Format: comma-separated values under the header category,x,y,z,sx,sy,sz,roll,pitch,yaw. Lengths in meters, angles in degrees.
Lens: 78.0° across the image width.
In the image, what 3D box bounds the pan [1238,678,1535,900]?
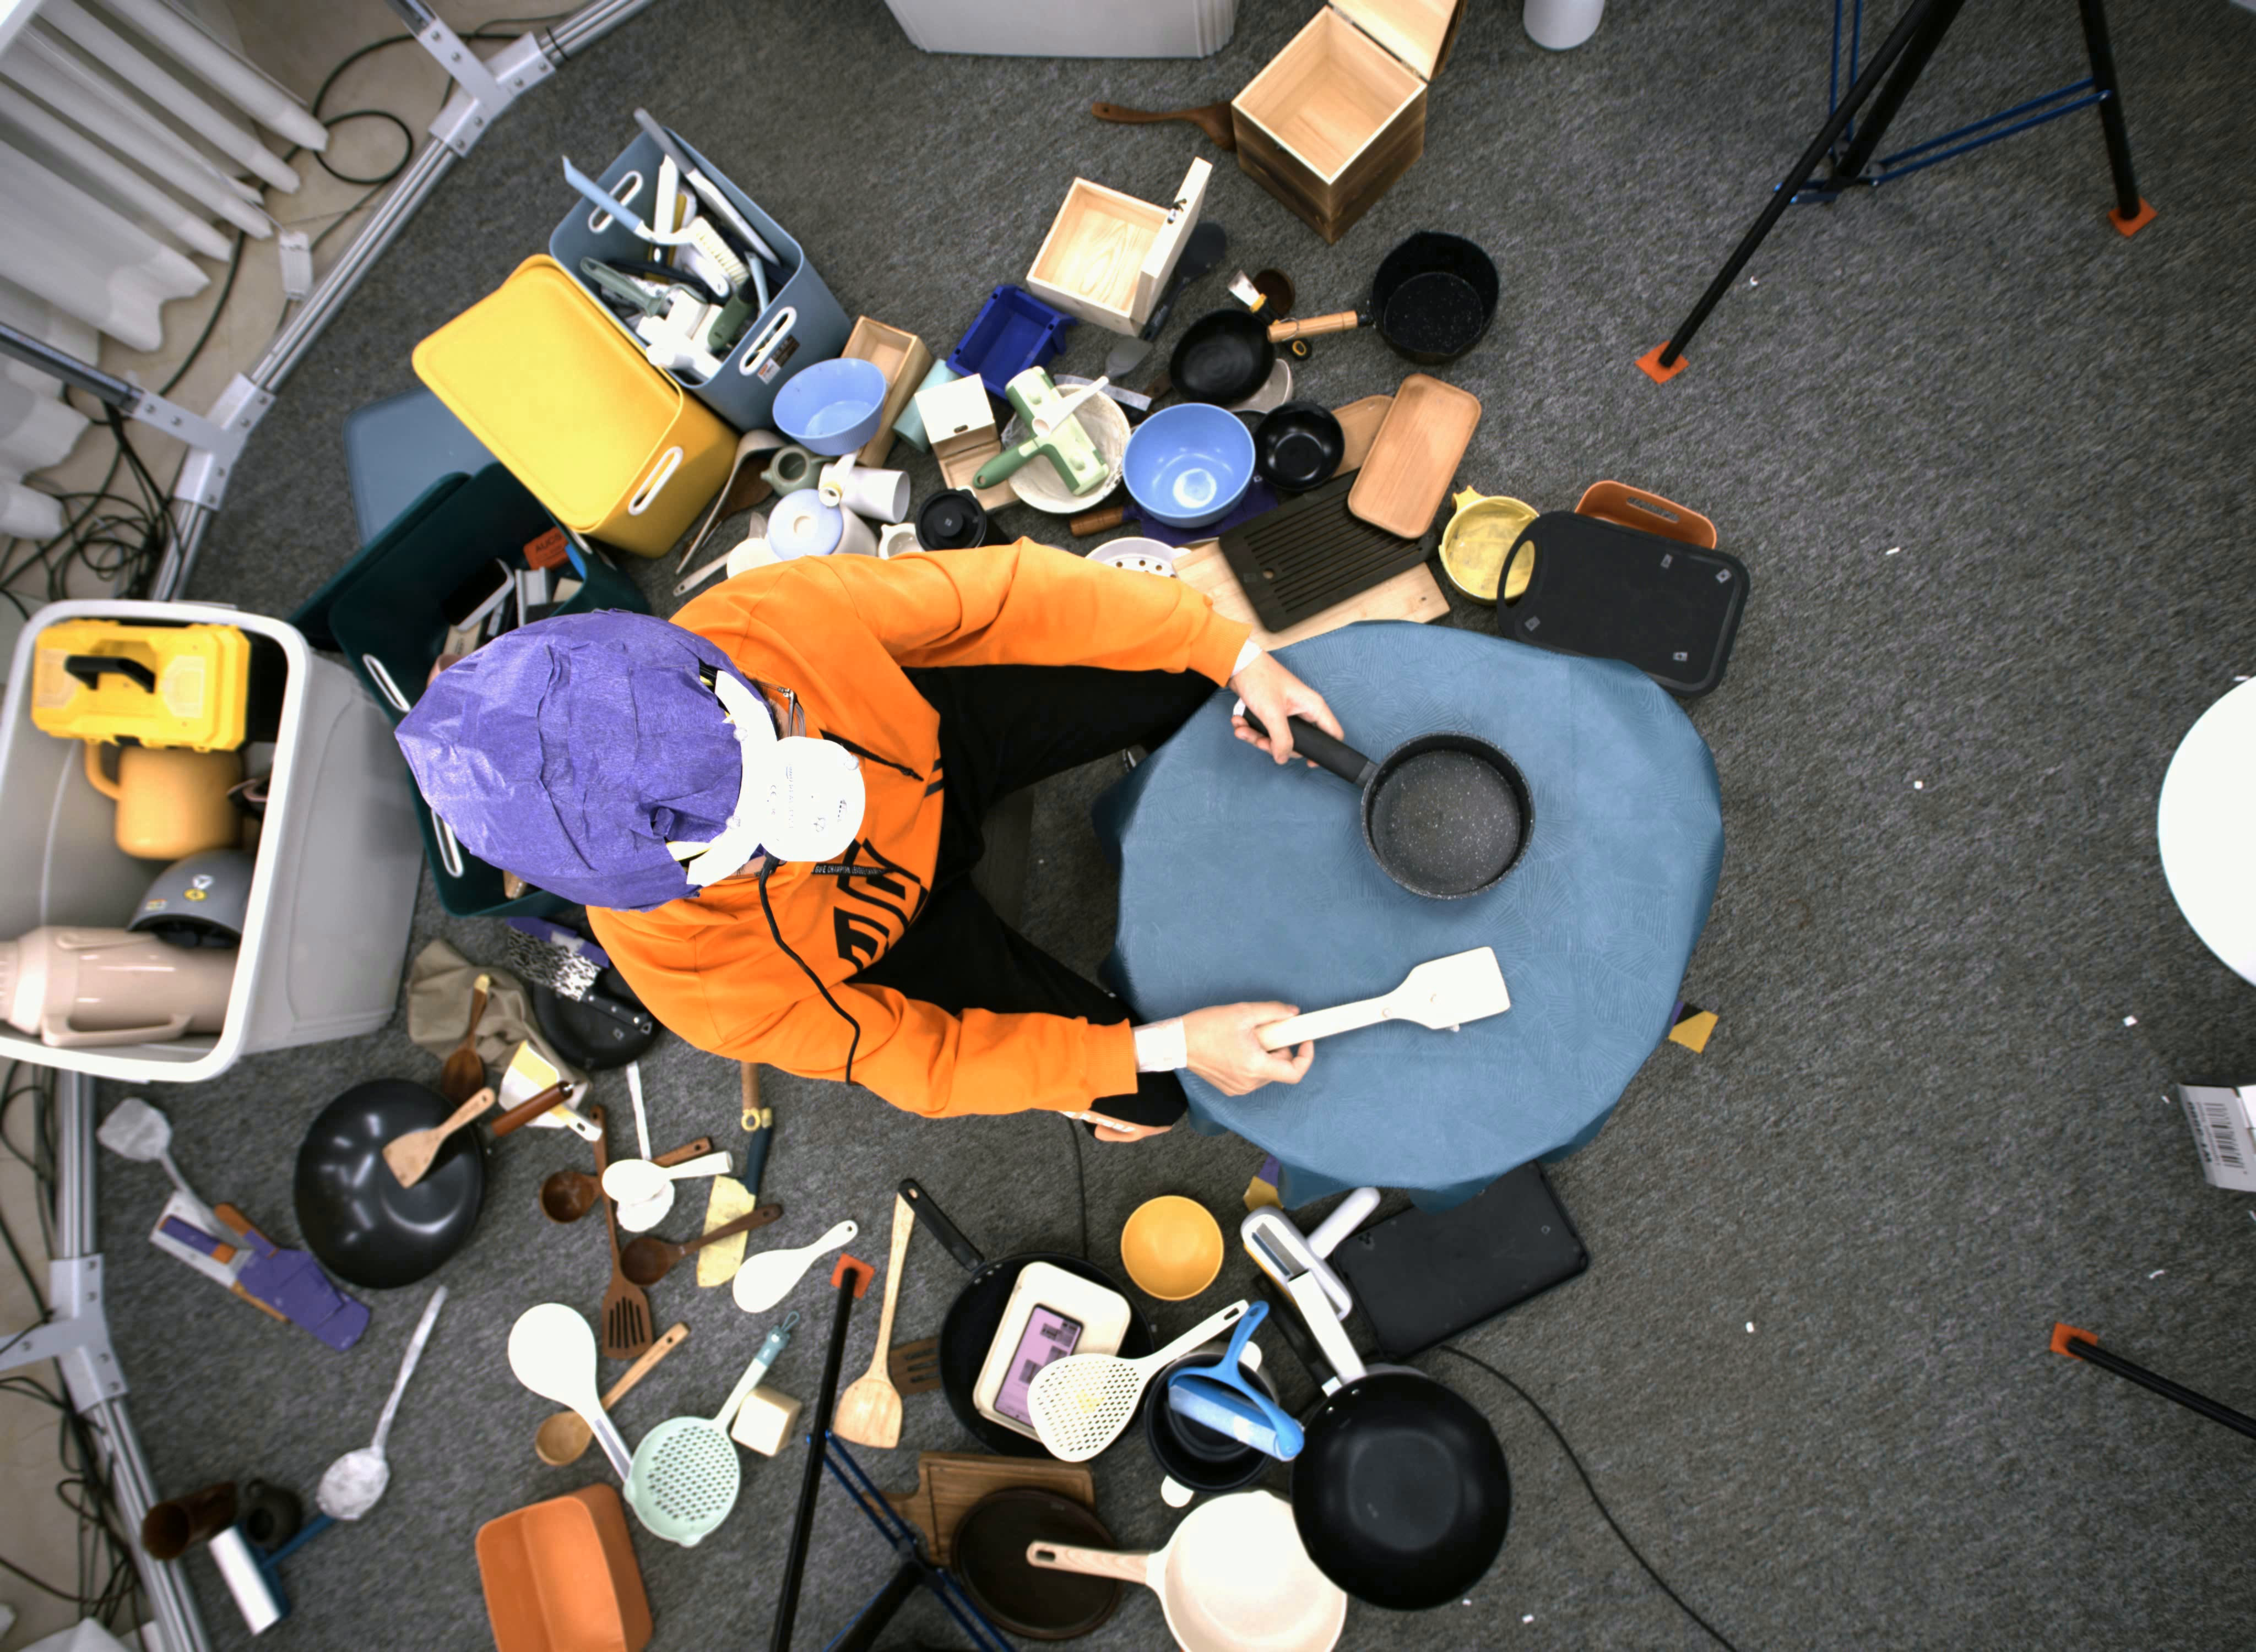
category,x,y,z,sx,sy,sz,roll,pitch,yaw
pan,0.260,-0.050,1.426,0.328,0.086,0.172,32,91,11

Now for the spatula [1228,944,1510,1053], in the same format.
category,x,y,z,sx,sy,sz,roll,pitch,yaw
spatula,0.246,0.188,1.428,0.293,0.011,0.071,-14,72,1
